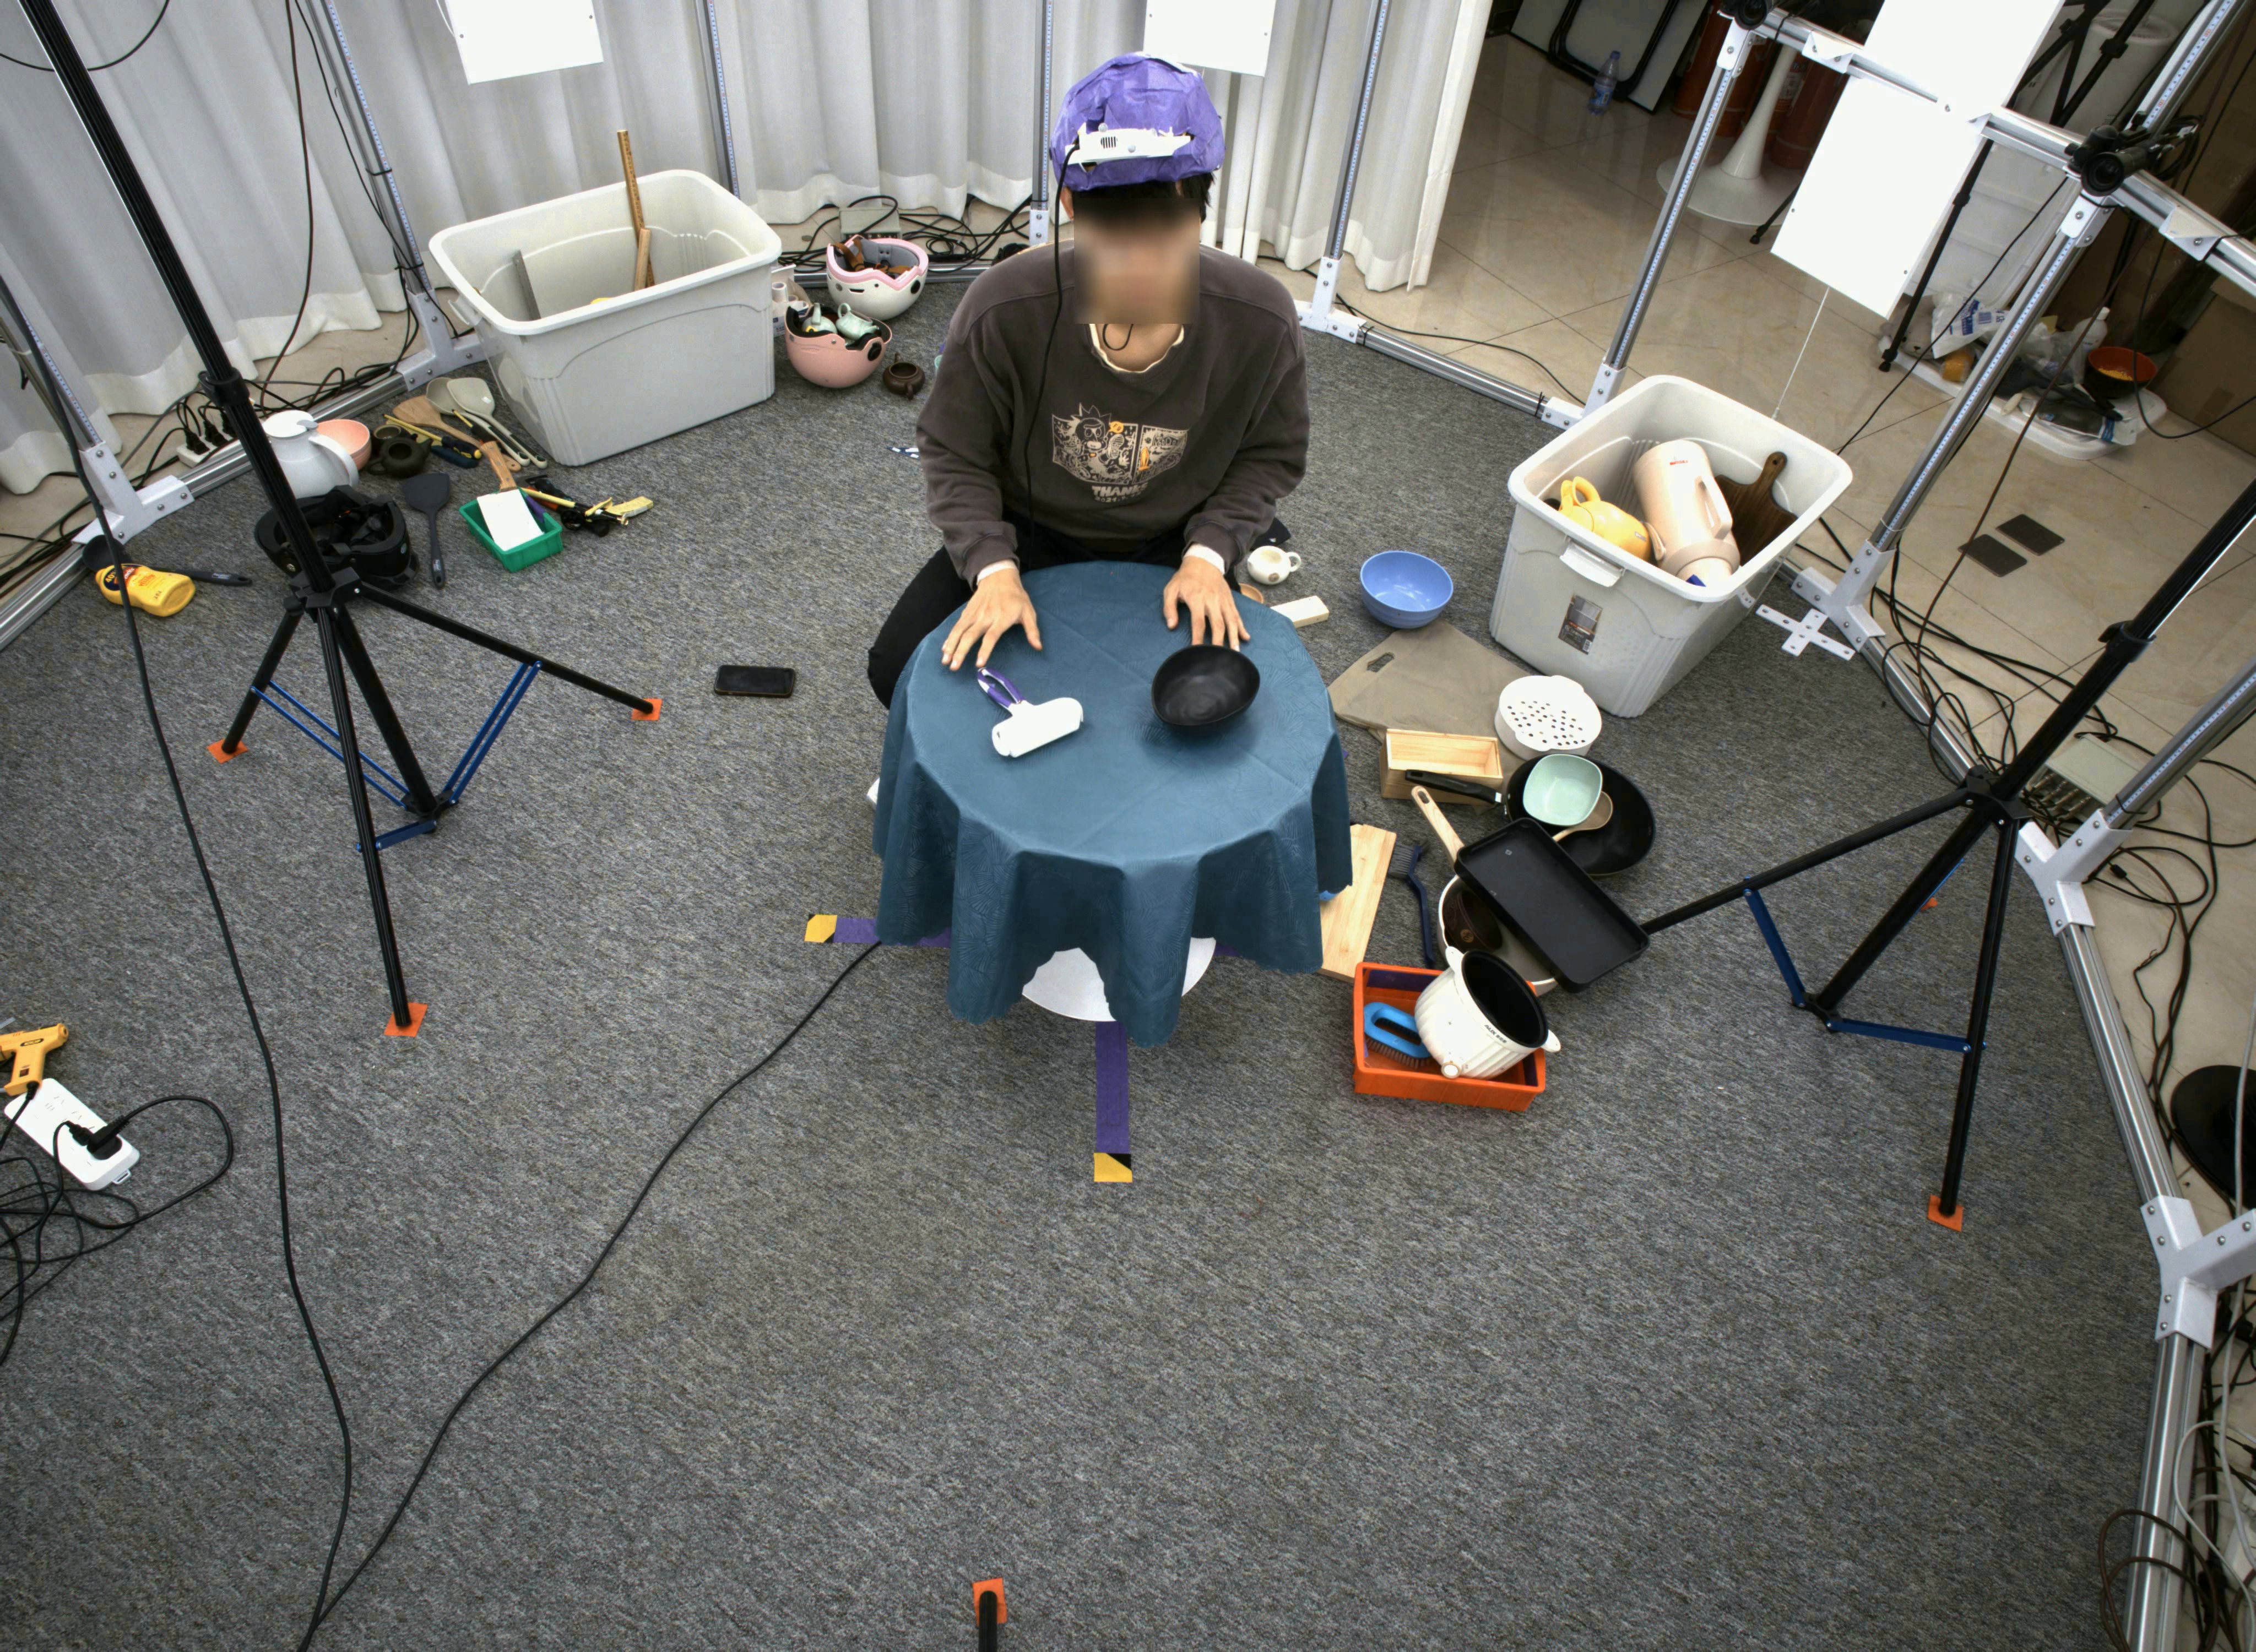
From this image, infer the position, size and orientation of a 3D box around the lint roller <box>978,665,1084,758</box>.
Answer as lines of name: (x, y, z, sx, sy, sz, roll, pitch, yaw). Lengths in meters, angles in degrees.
lint roller: (-0.154, -0.178, 1.780, 0.133, 0.049, 0.184, -24, 57, -22)

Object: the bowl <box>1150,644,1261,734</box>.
bowl: (0.107, -0.179, 1.787, 0.139, 0.065, 0.172, 34, 57, 25)
